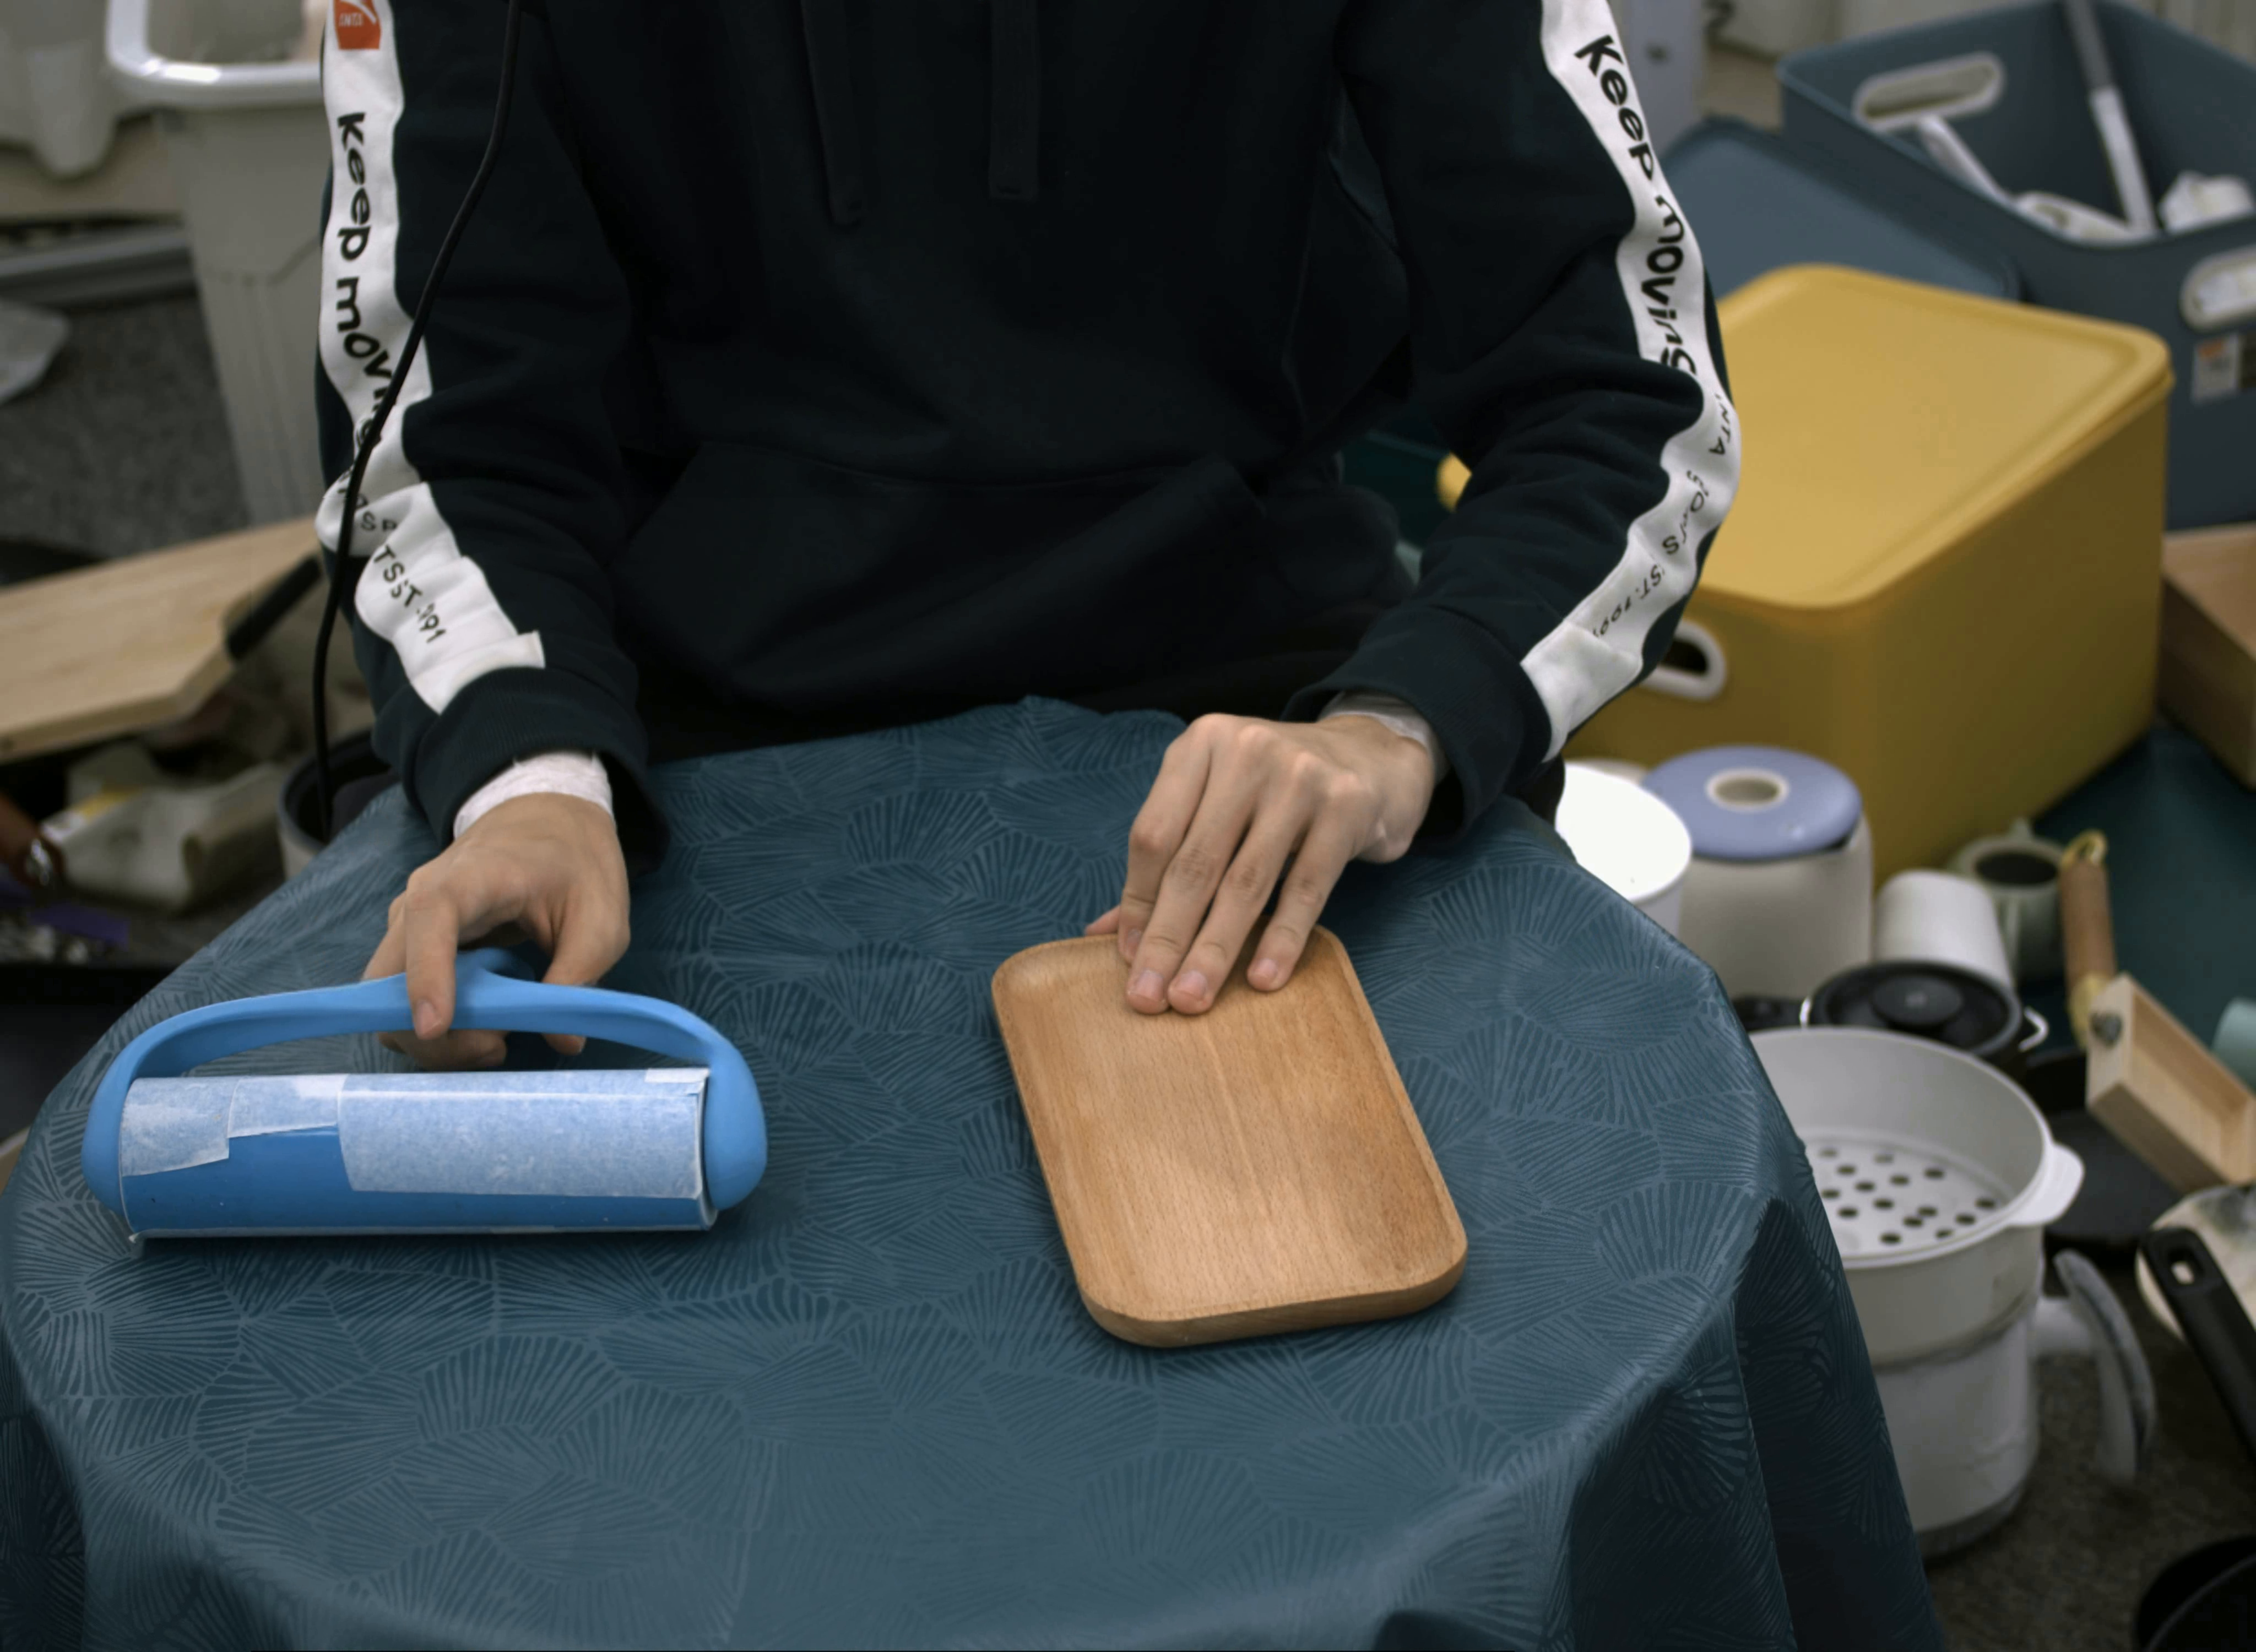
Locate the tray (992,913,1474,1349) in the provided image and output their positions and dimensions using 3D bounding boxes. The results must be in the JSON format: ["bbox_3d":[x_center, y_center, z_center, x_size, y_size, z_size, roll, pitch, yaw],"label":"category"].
[{"bbox_3d":[0.031,0.099,1.881,0.130,0.022,0.254,-4,27,-8],"label":"tray"}]

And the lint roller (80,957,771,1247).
[{"bbox_3d":[-0.231,0.080,1.902,0.228,0.067,0.183,-4,29,2],"label":"lint roller"}]
